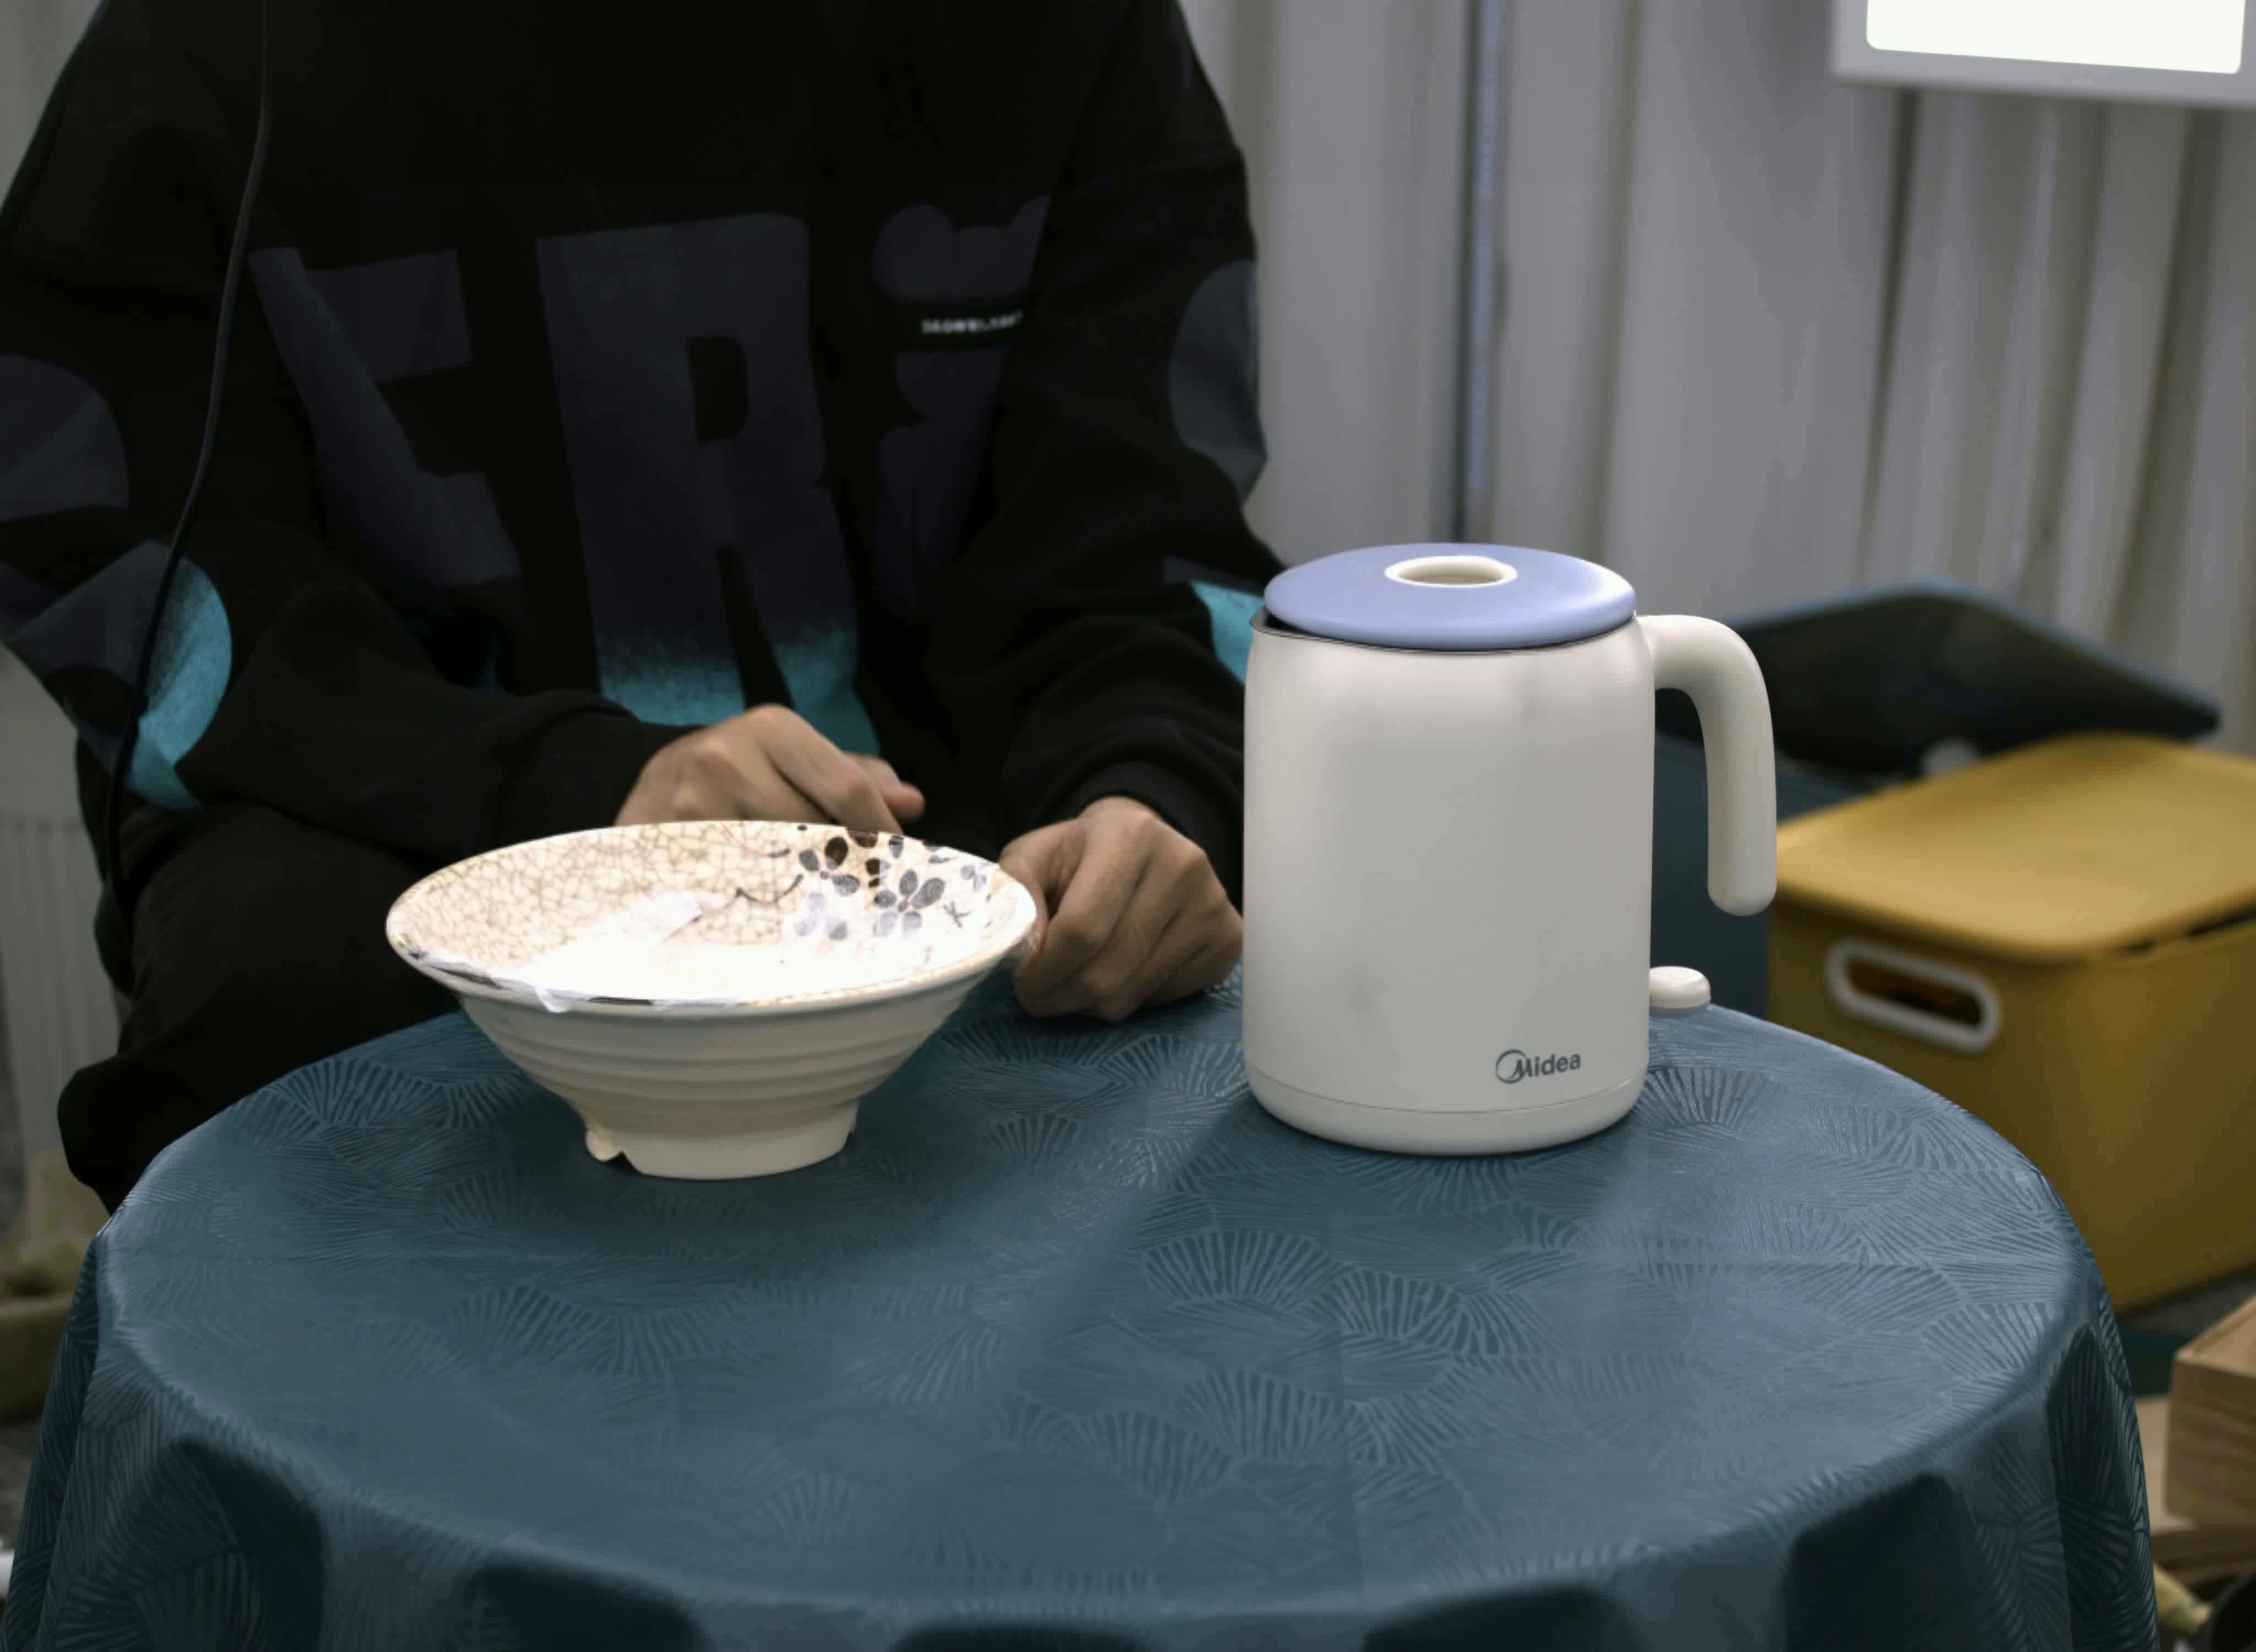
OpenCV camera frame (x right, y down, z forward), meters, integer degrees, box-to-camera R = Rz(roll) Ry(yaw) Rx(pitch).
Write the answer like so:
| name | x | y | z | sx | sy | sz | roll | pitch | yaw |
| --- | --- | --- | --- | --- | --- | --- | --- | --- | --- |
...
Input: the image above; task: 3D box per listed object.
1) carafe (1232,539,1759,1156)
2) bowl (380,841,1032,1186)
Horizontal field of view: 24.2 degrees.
| name | x | y | z | sx | sy | sz | roll | pitch | yaw |
| --- | --- | --- | --- | --- | --- | --- | --- | --- | --- |
| carafe | 0.123 | 0.004 | 1.695 | 0.192 | 0.184 | 0.130 | -5 | 18 | -26 |
| bowl | -0.131 | 0.064 | 1.653 | 0.203 | 0.078 | 0.203 | 1 | 13 | 0 |
